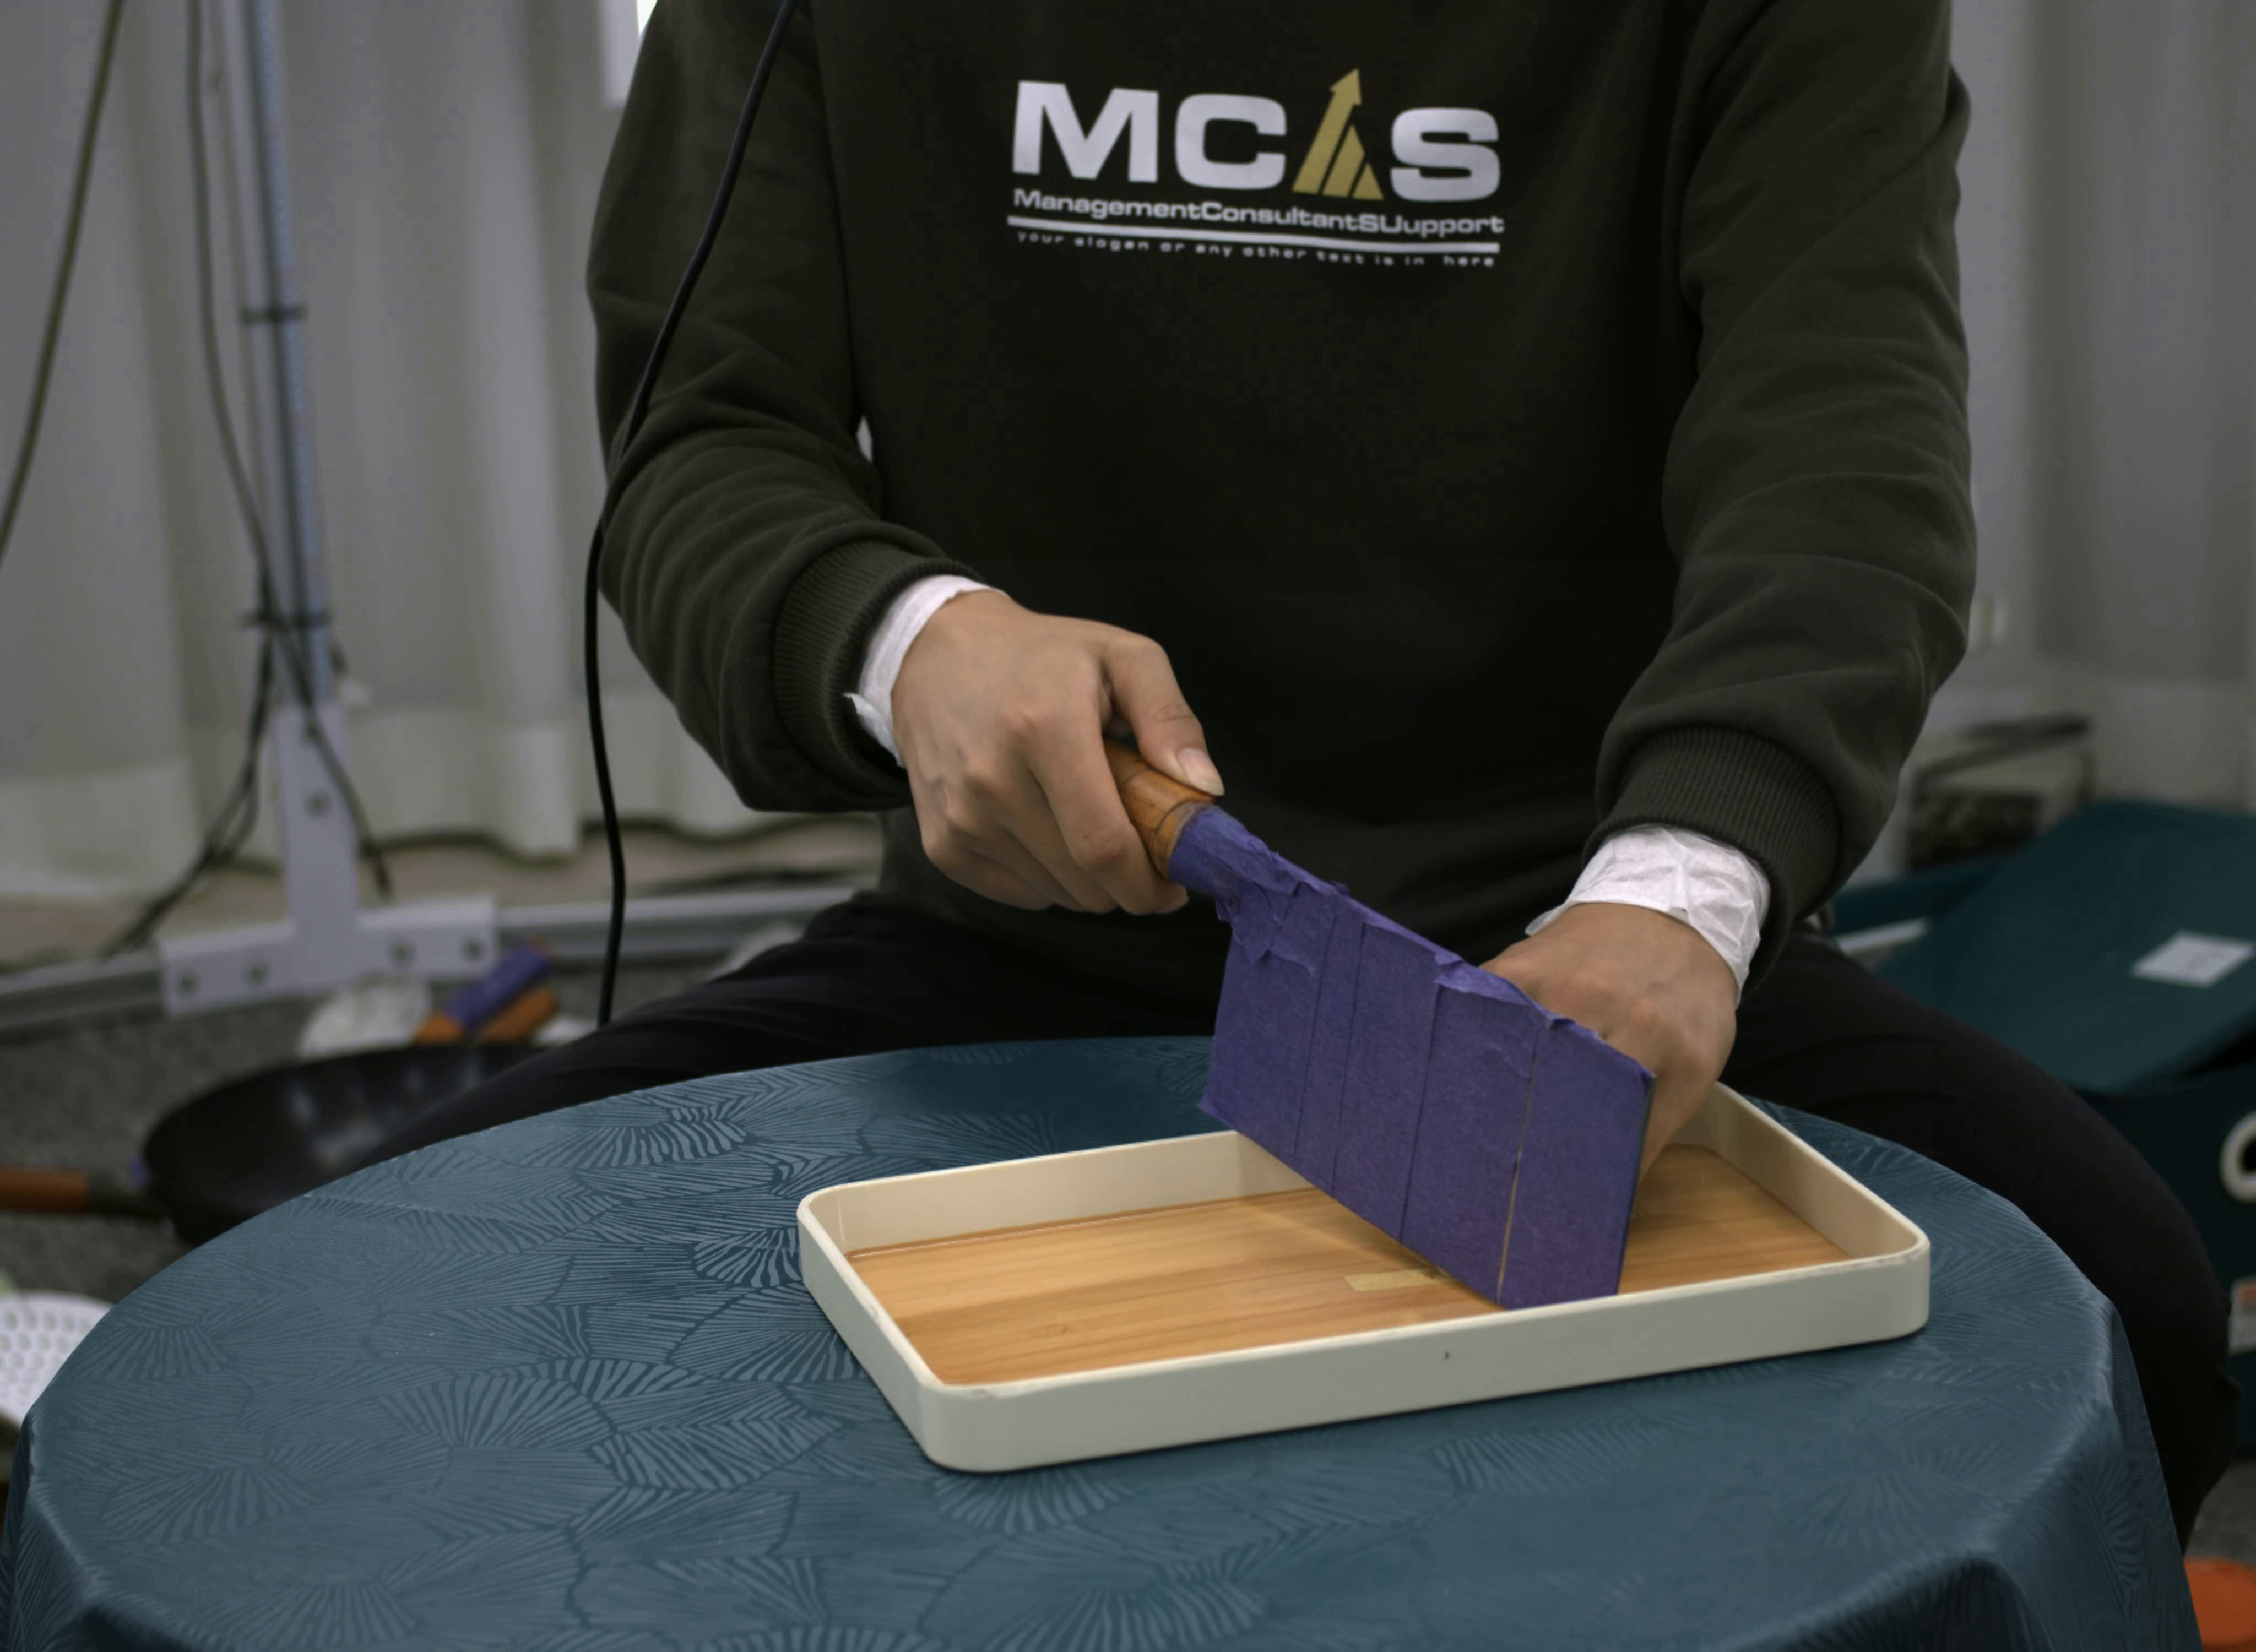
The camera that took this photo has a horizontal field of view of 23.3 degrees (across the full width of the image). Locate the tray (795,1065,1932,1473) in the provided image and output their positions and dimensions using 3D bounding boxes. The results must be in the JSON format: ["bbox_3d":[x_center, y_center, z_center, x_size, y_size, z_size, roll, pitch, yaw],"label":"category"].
[{"bbox_3d":[0.065,0.127,1.604,0.299,0.027,0.193,-7,16,-15],"label":"tray"}]

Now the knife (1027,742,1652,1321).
[{"bbox_3d":[0.054,0.060,1.646,0.032,0.103,0.318,2,16,-32],"label":"knife"}]
